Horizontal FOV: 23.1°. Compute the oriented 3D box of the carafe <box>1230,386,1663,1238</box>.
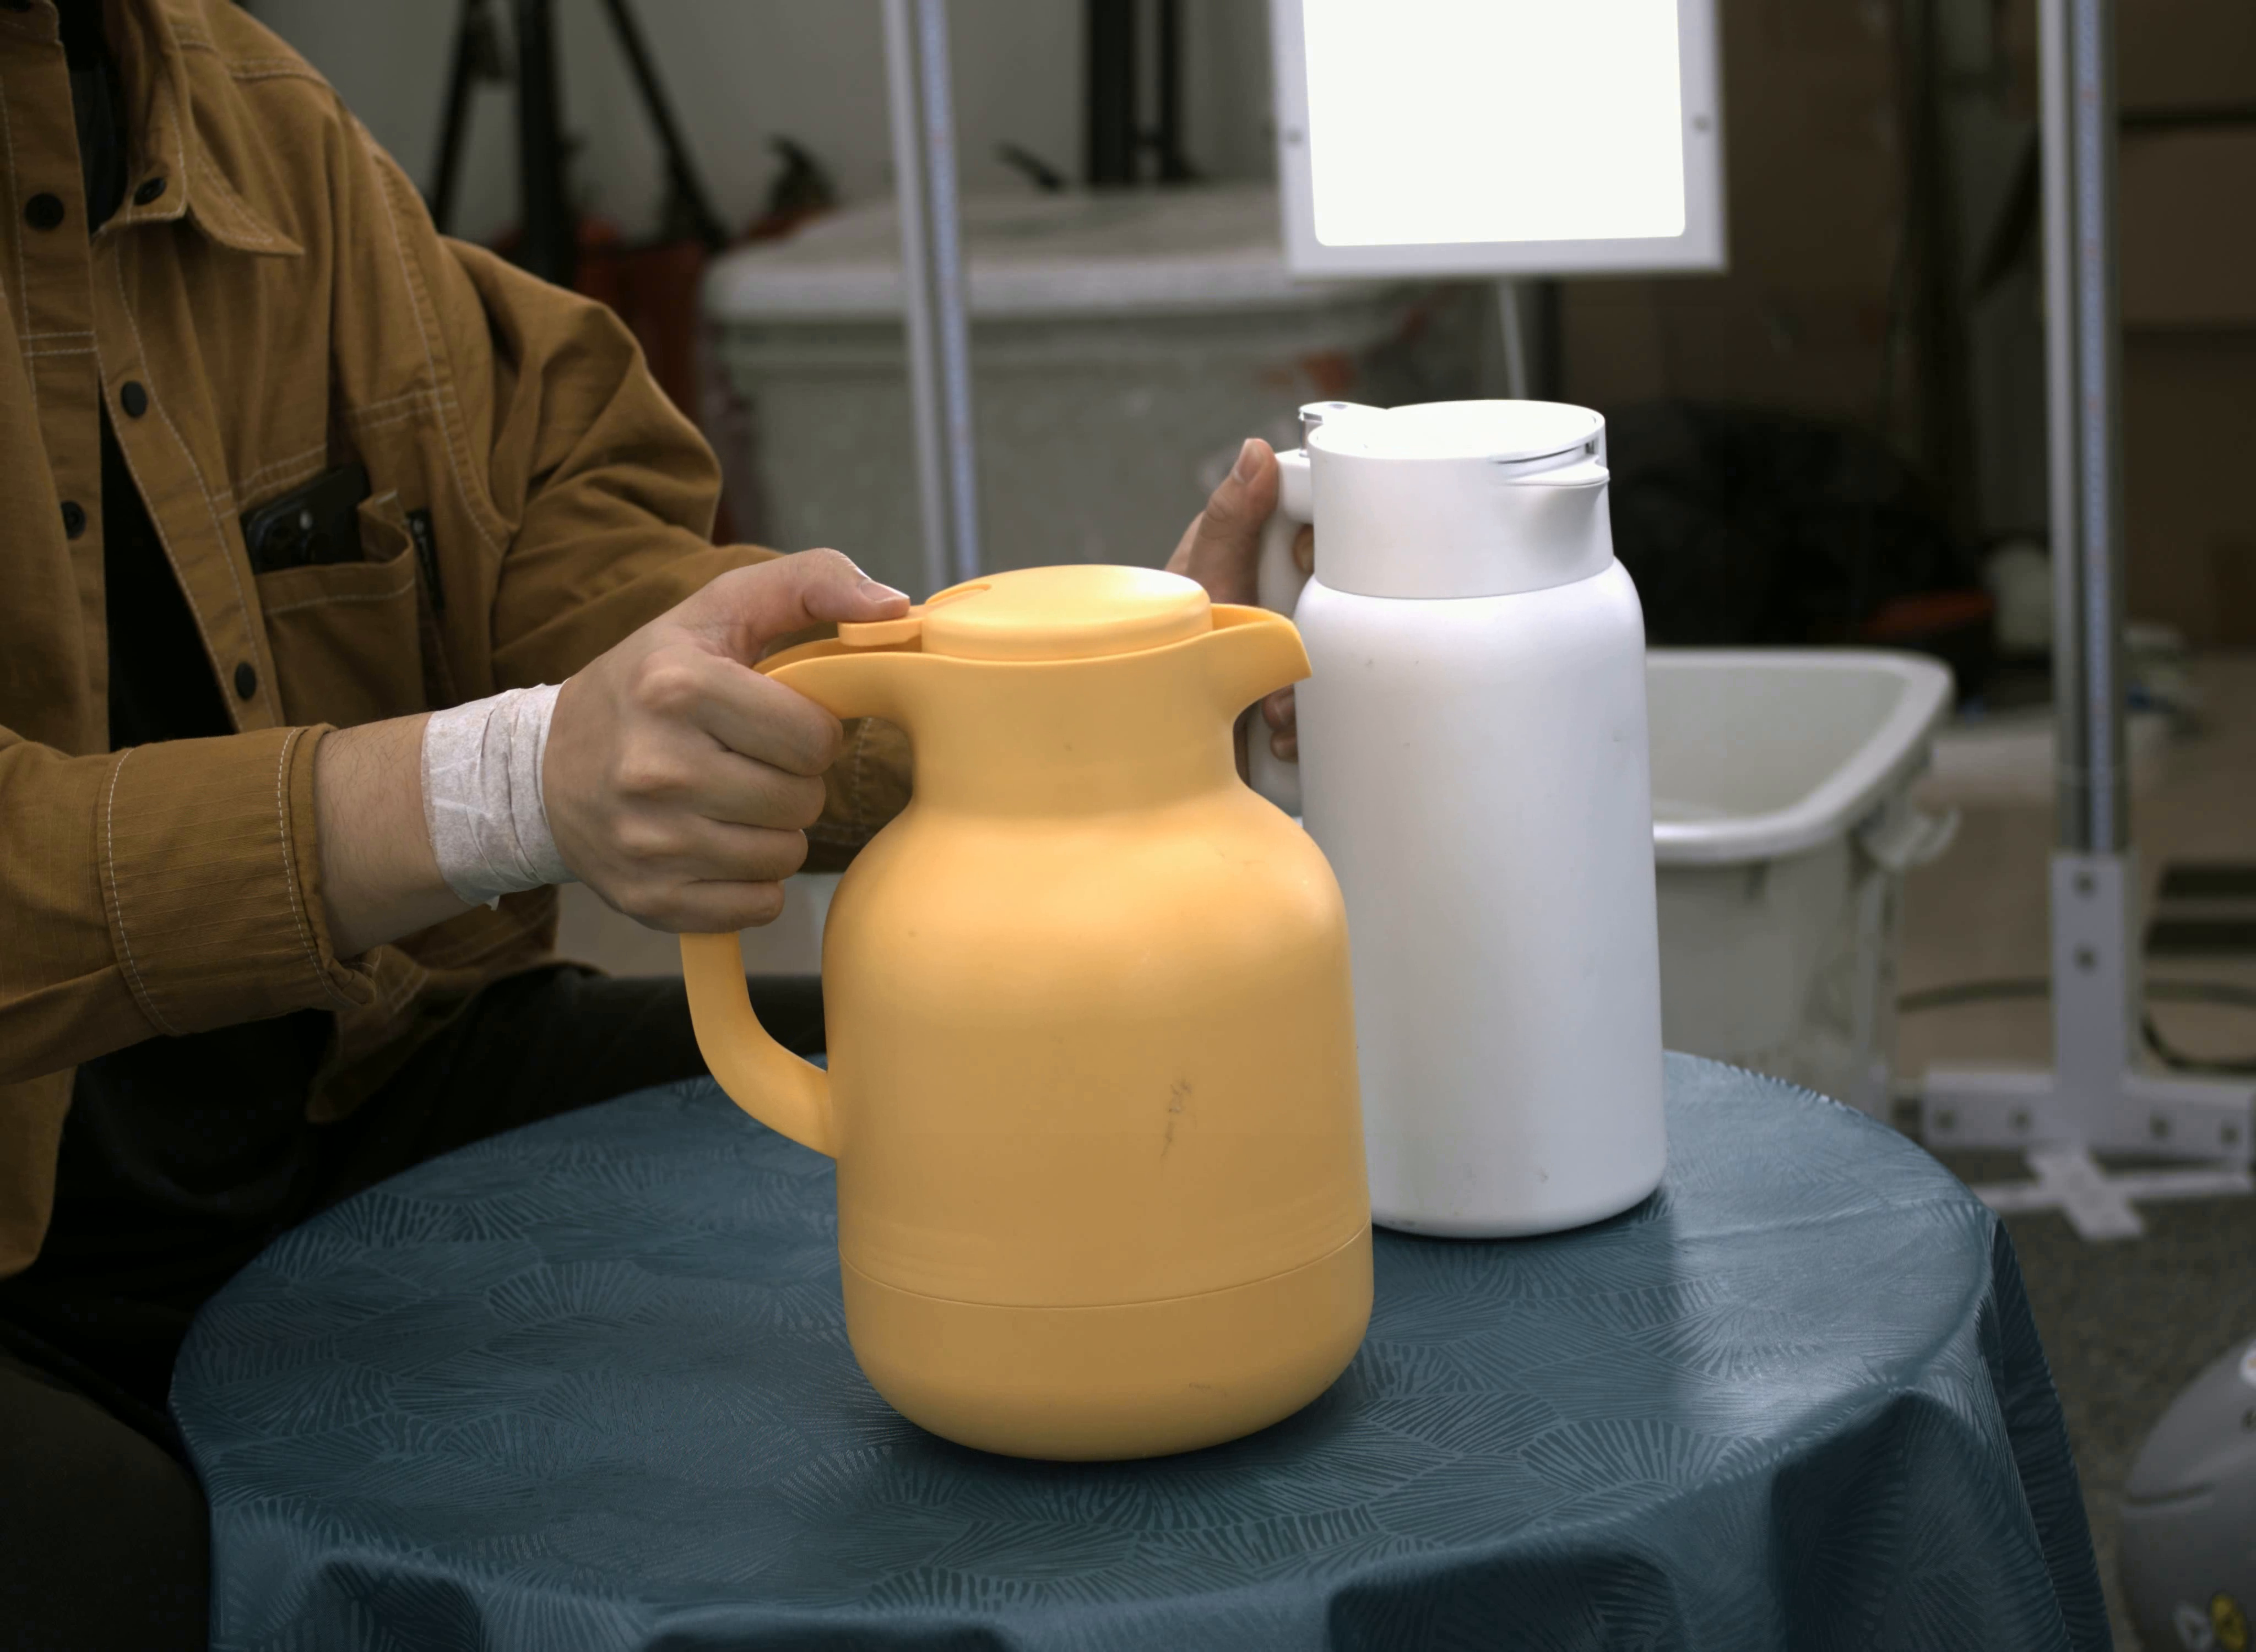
[{"bbox_3d":[0.103,-0.007,1.840,0.121,0.270,0.176,-17,19,-35],"label":"carafe"}]

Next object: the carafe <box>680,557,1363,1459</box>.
[{"bbox_3d":[-0.032,0.051,1.663,0.202,0.261,0.163,-2,11,3],"label":"carafe"}]
